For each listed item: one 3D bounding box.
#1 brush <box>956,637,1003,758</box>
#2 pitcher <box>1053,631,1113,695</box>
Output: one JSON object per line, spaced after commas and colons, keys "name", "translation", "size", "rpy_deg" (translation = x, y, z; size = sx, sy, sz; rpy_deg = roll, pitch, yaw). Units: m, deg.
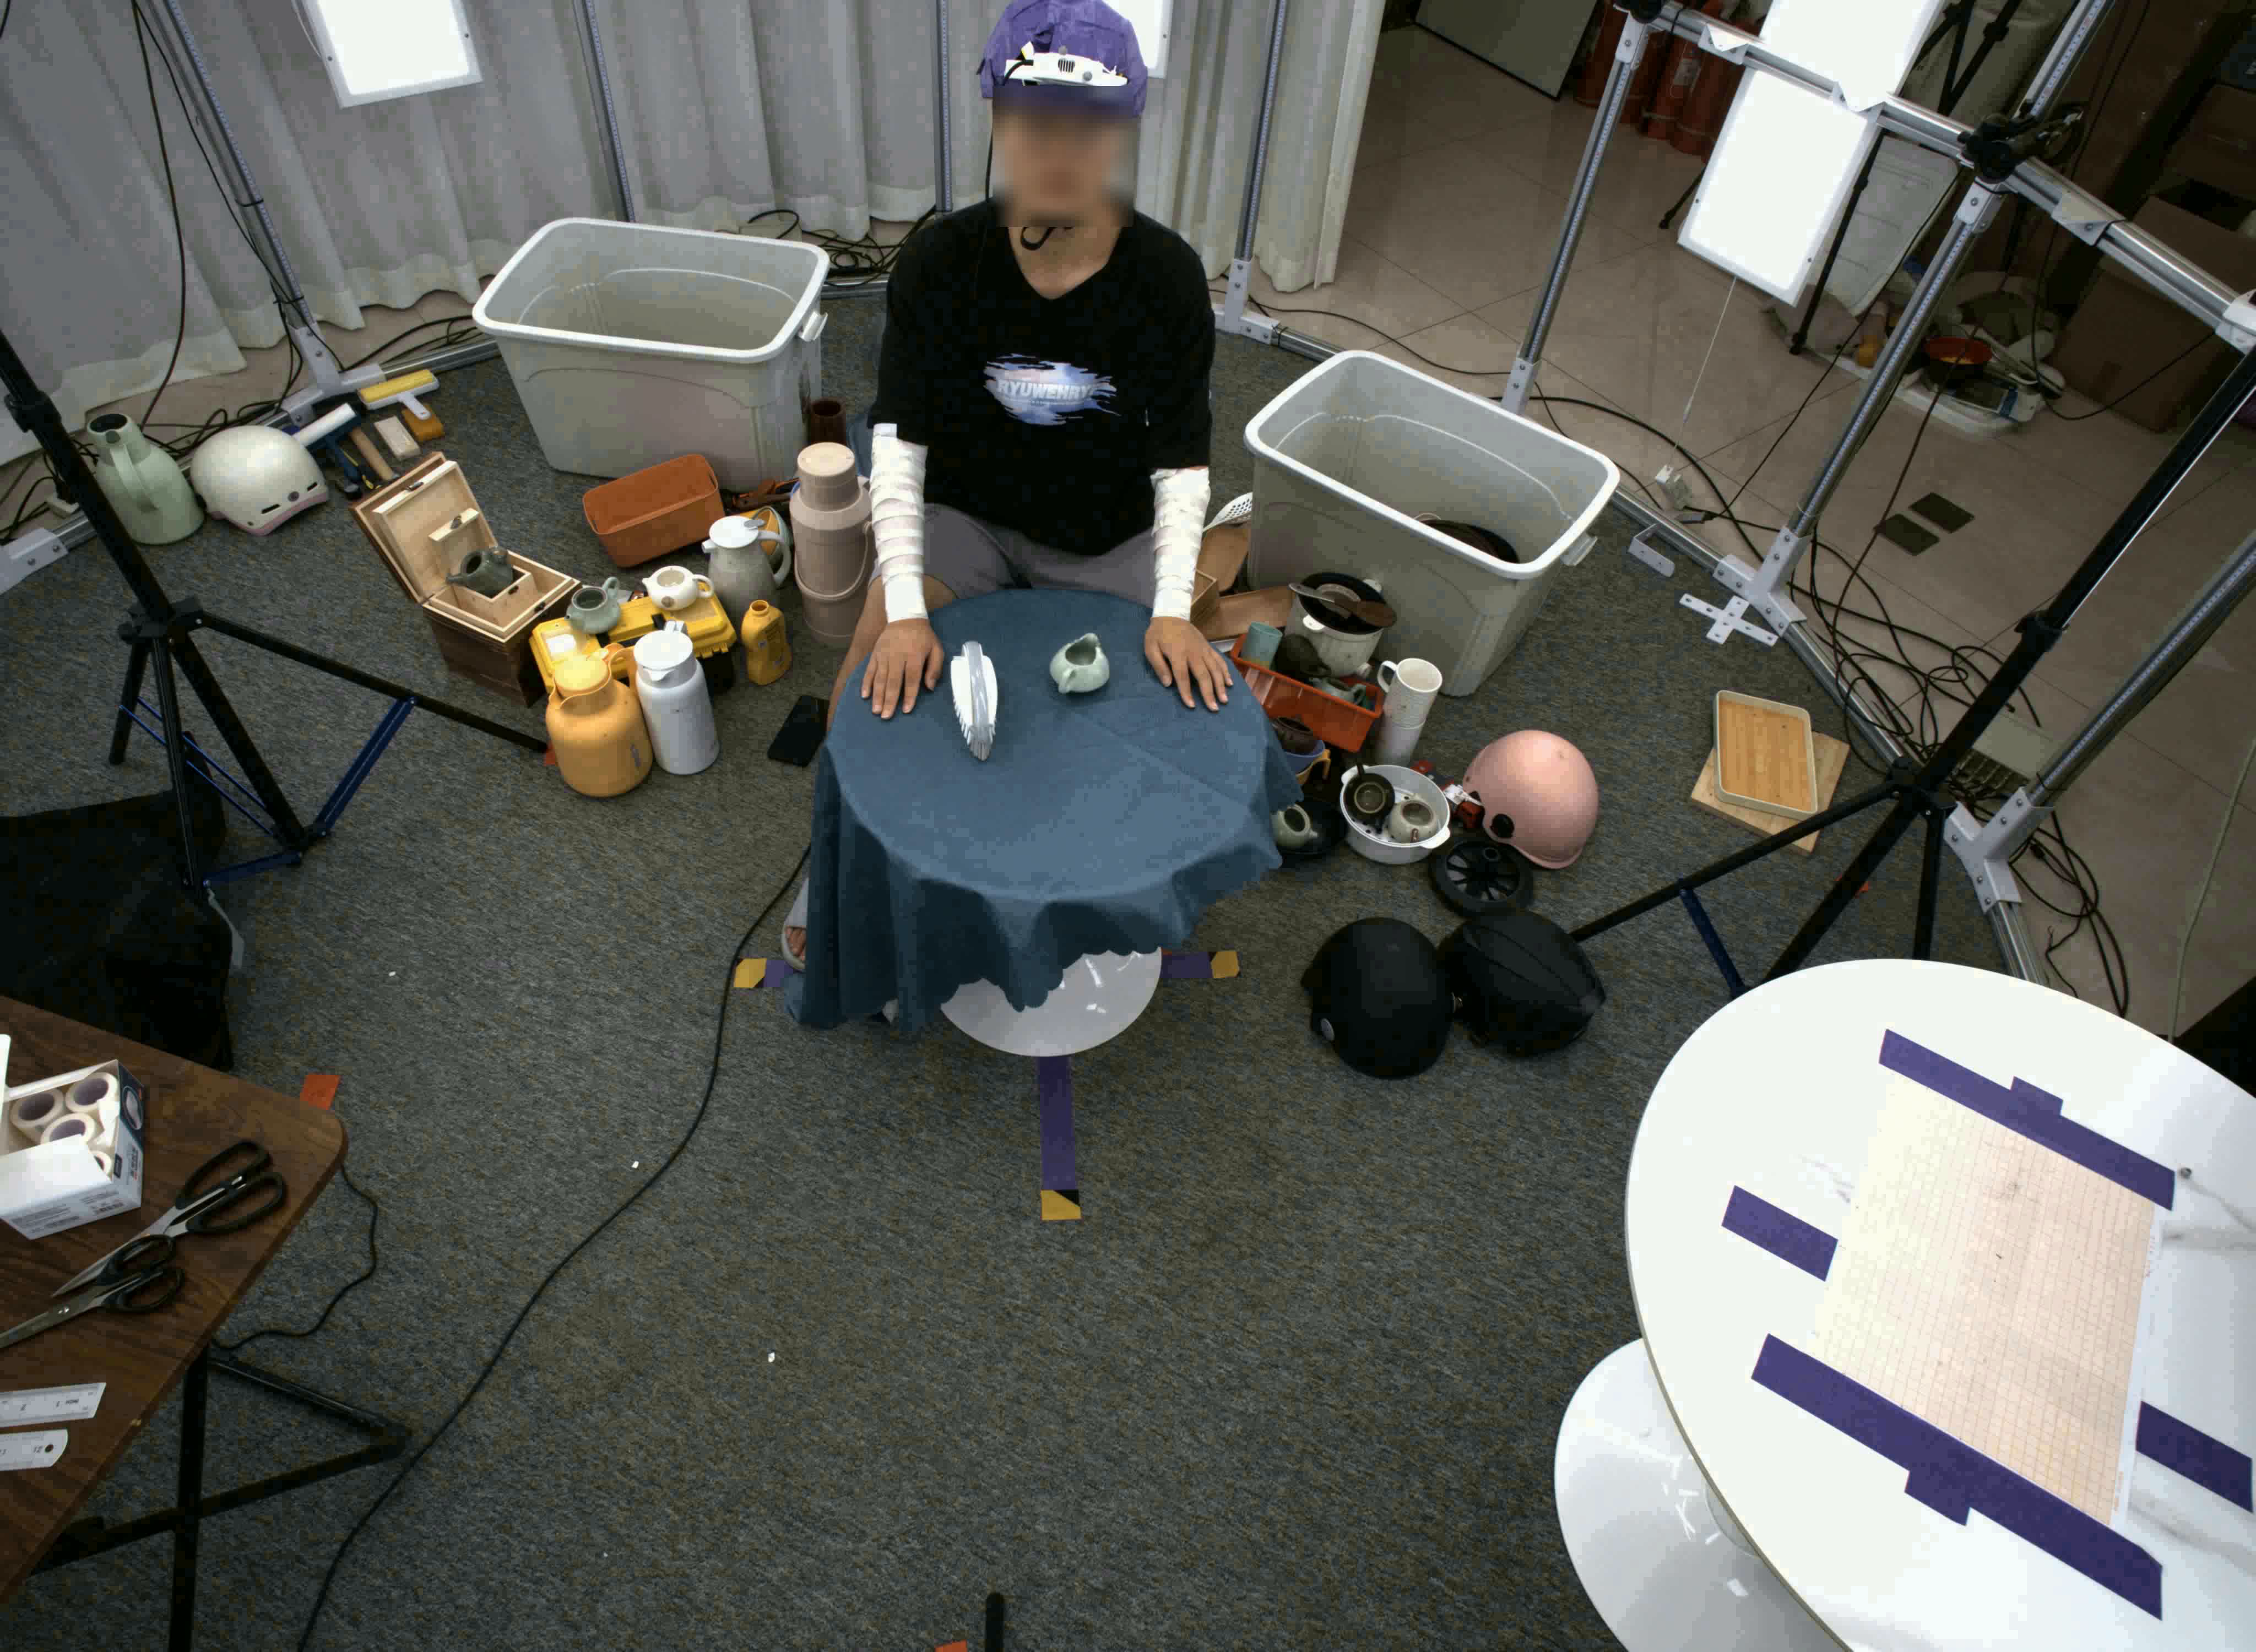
{"name": "brush", "translation": [-0.203, -0.184, 1.761], "size": [0.061, 0.092, 0.180], "rpy_deg": [-8, 52, -4]}
{"name": "pitcher", "translation": [-0.069, -0.223, 1.825], "size": [0.086, 0.059, 0.110], "rpy_deg": [17, 53, 11]}
